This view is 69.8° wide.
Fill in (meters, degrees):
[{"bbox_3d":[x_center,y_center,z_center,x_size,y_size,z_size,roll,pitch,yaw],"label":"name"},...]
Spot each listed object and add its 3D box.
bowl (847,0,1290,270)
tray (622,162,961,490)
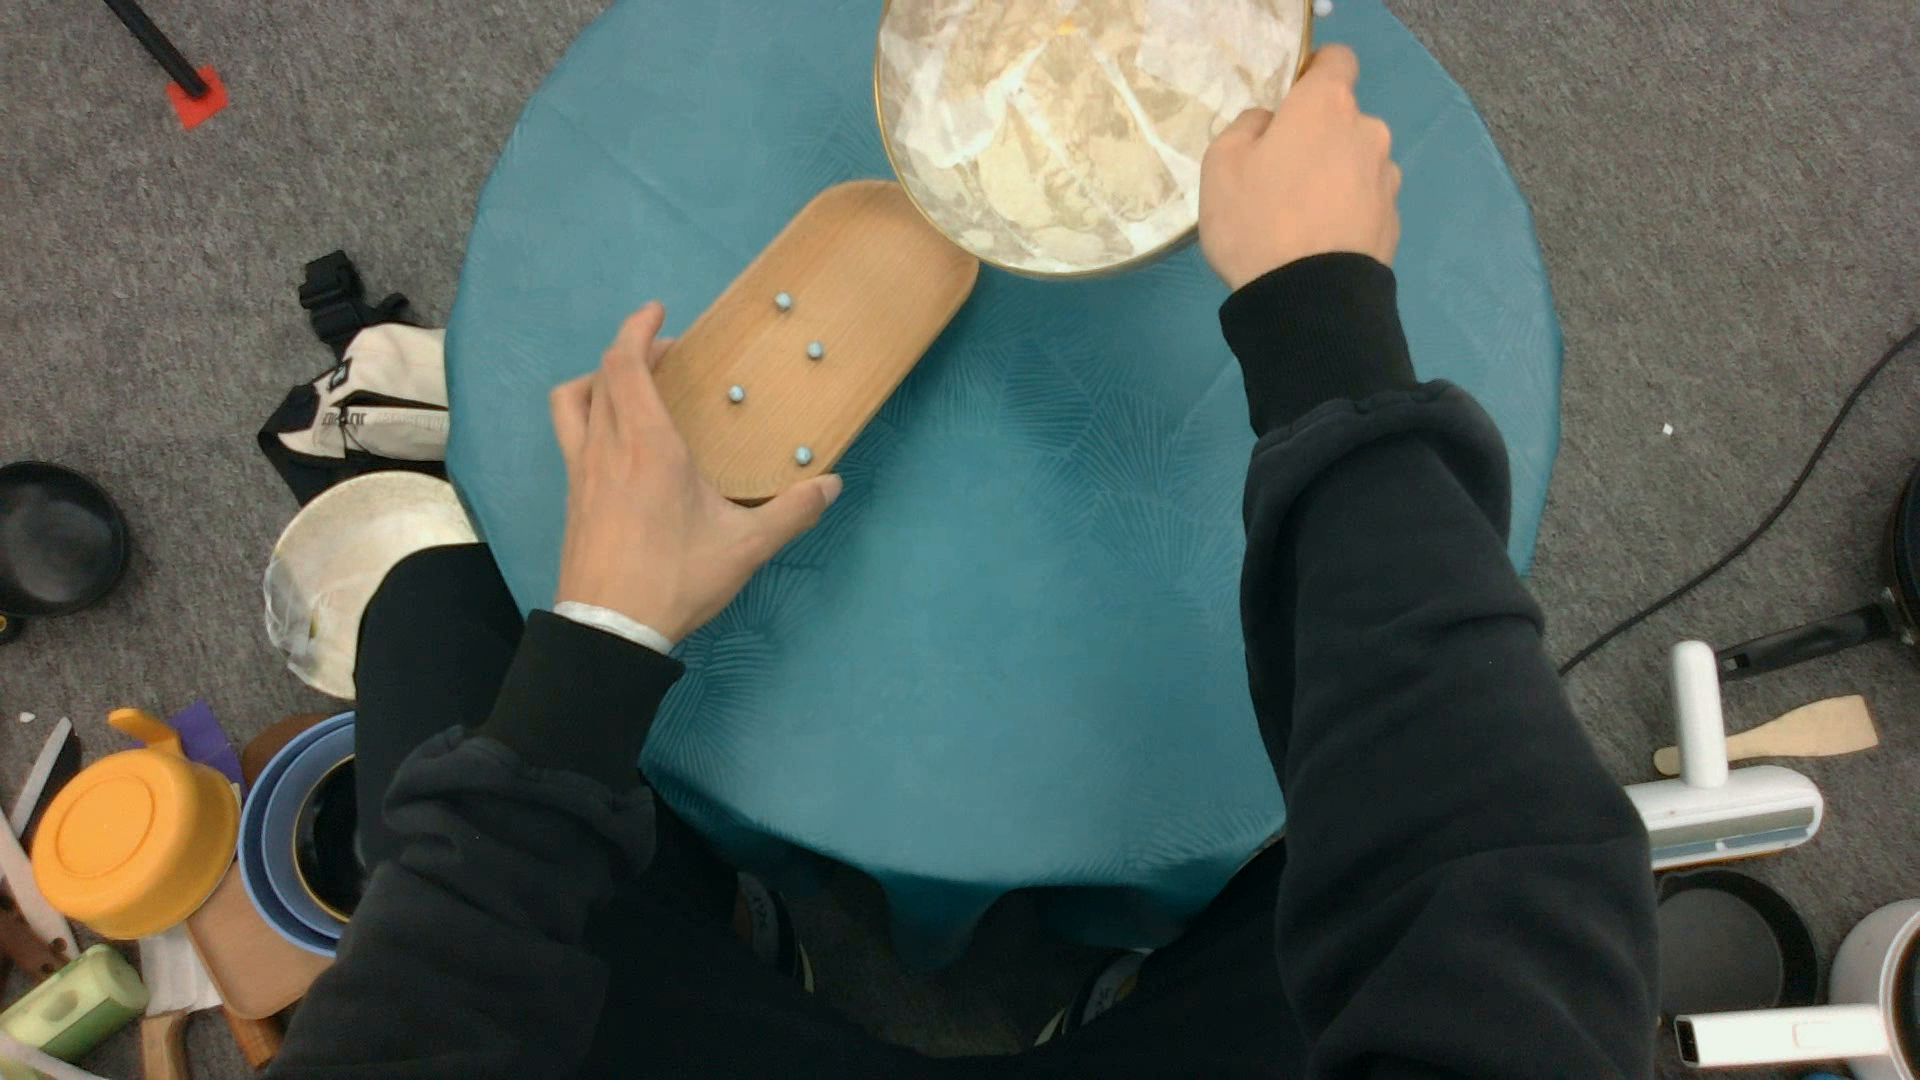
[{"bbox_3d":[0.055,-0.221,0.649,0.214,0.095,0.214,1,92,21],"label":"bowl"},{"bbox_3d":[-0.081,-0.114,0.702,0.101,0.020,0.232,30,57,5],"label":"tray"}]
